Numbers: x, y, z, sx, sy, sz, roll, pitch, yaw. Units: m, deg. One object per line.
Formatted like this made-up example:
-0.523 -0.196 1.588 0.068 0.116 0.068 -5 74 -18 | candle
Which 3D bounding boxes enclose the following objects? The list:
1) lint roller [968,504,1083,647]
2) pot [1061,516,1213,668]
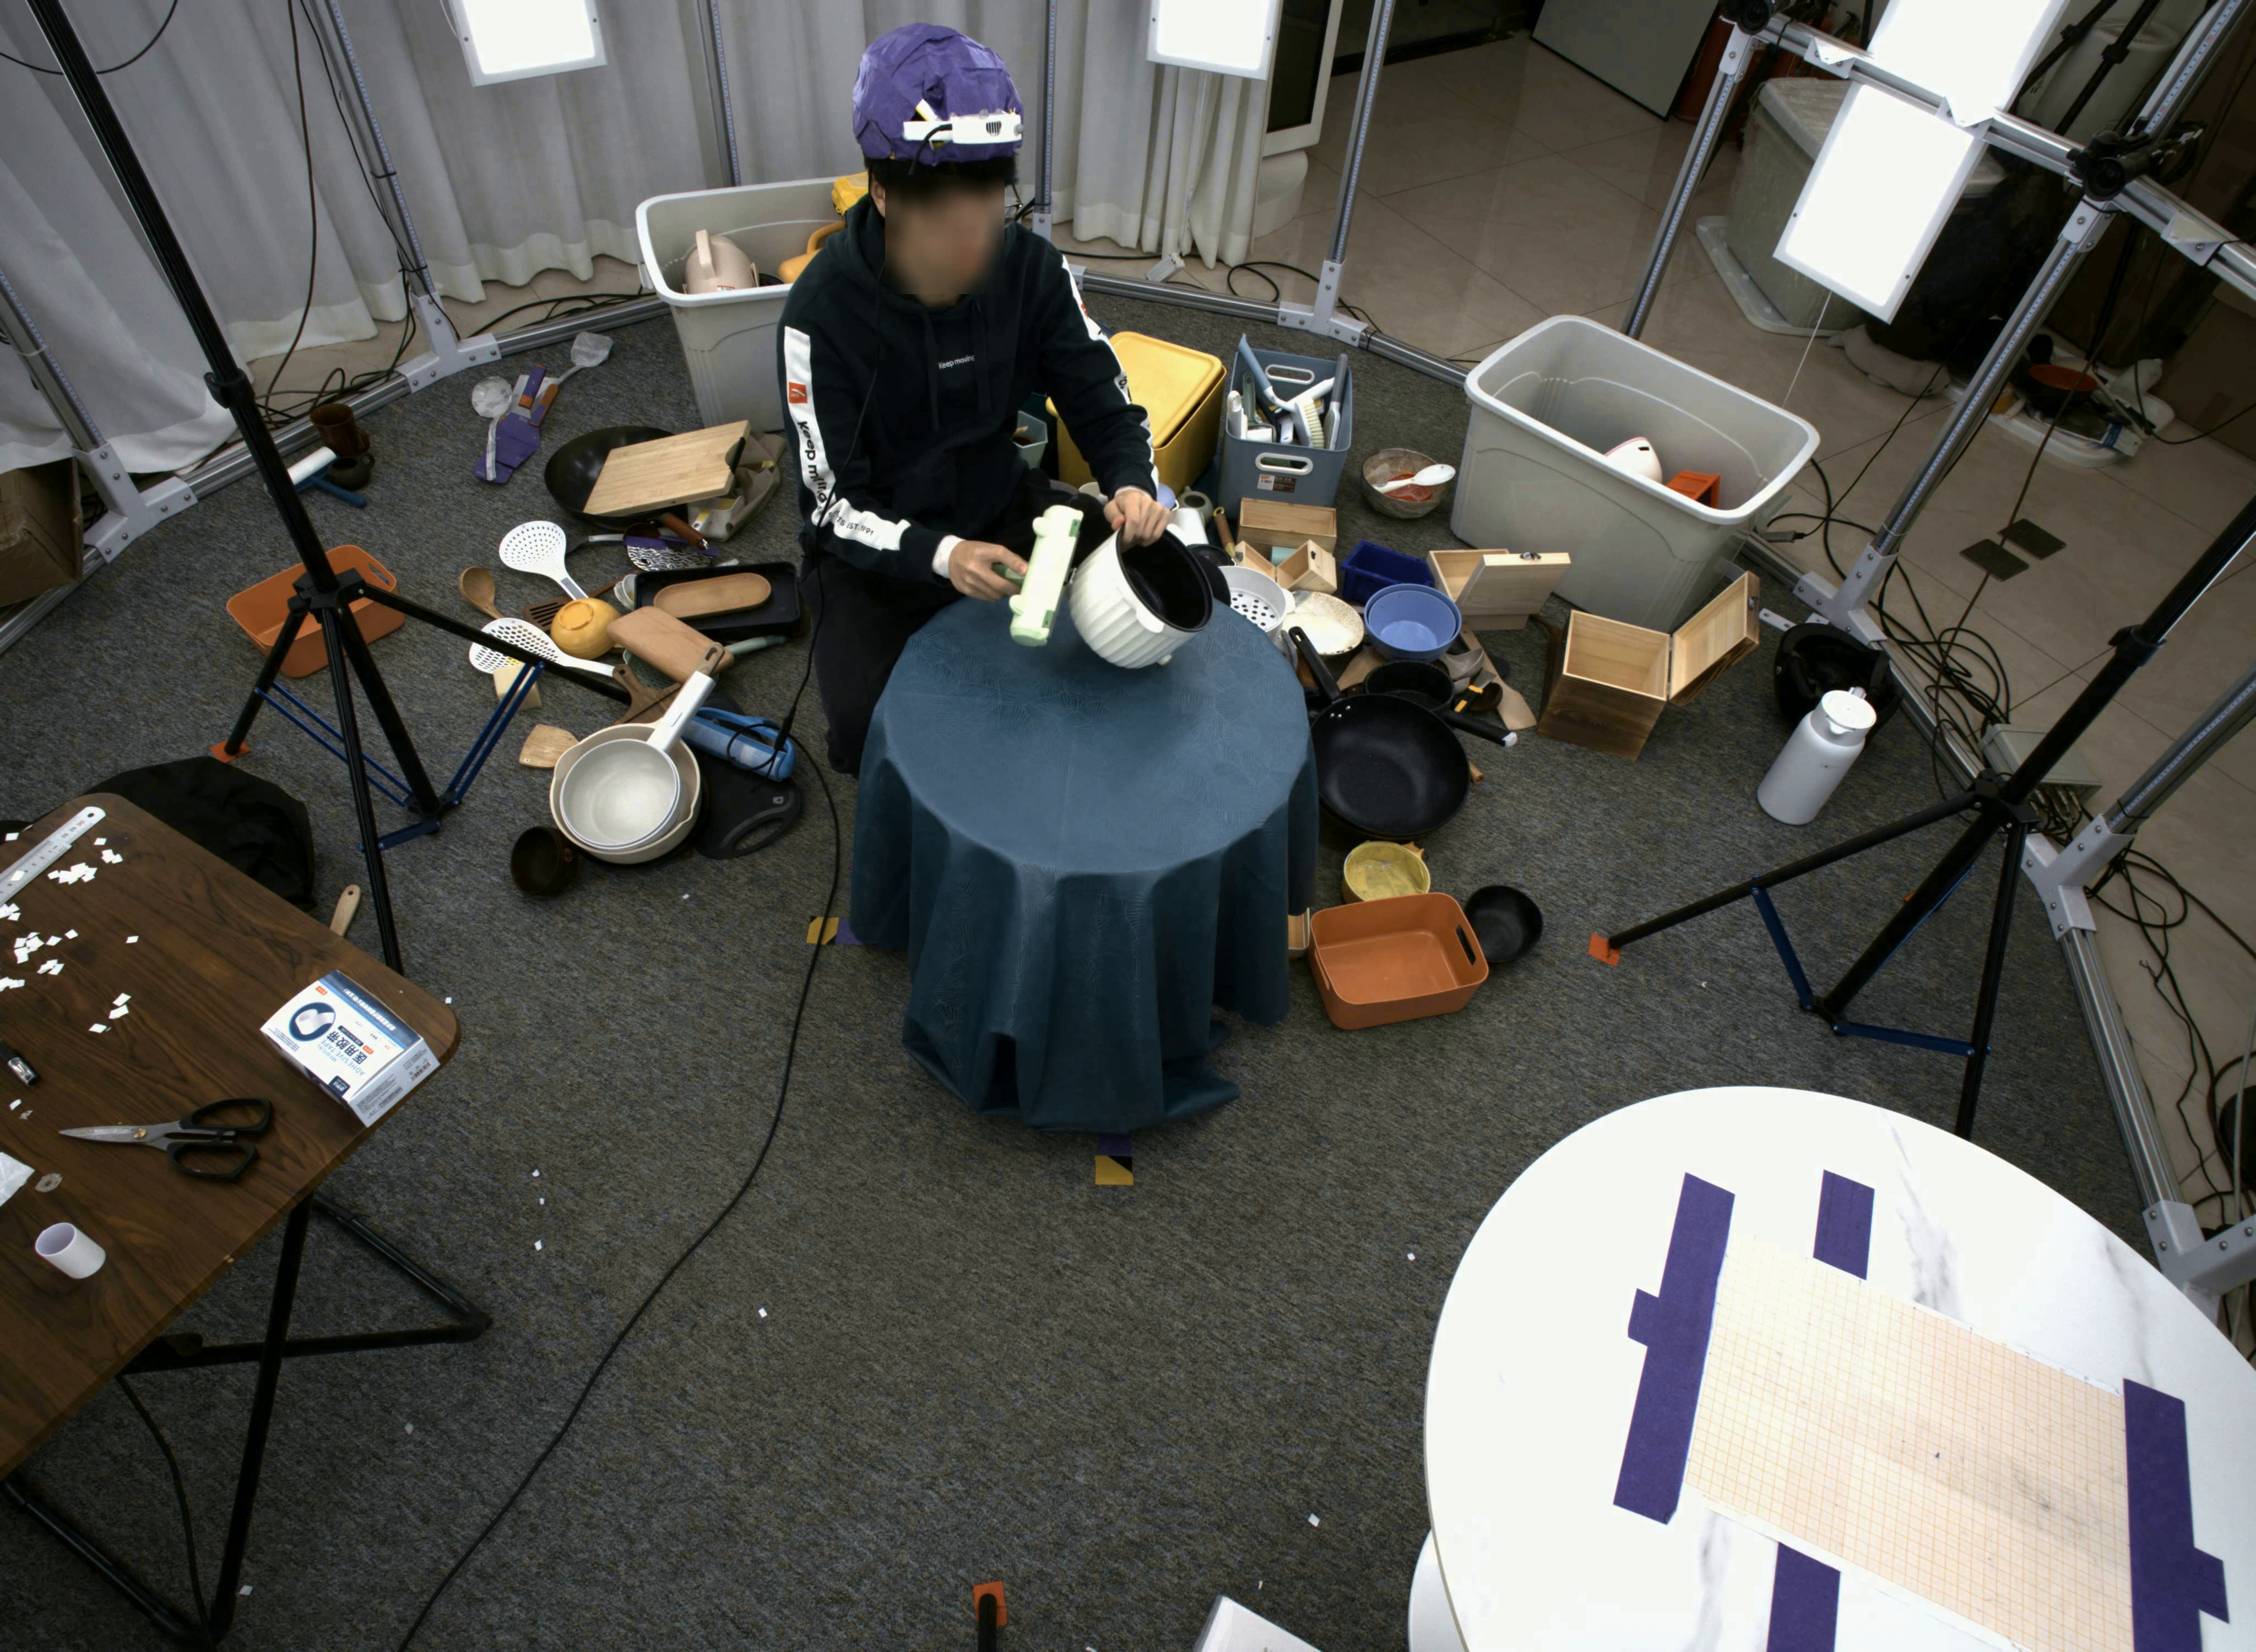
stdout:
-0.163 -0.354 1.792 0.184 0.081 0.200 9 77 29 | lint roller
0.014 -0.318 1.814 0.188 0.141 0.246 35 43 -20 | pot
